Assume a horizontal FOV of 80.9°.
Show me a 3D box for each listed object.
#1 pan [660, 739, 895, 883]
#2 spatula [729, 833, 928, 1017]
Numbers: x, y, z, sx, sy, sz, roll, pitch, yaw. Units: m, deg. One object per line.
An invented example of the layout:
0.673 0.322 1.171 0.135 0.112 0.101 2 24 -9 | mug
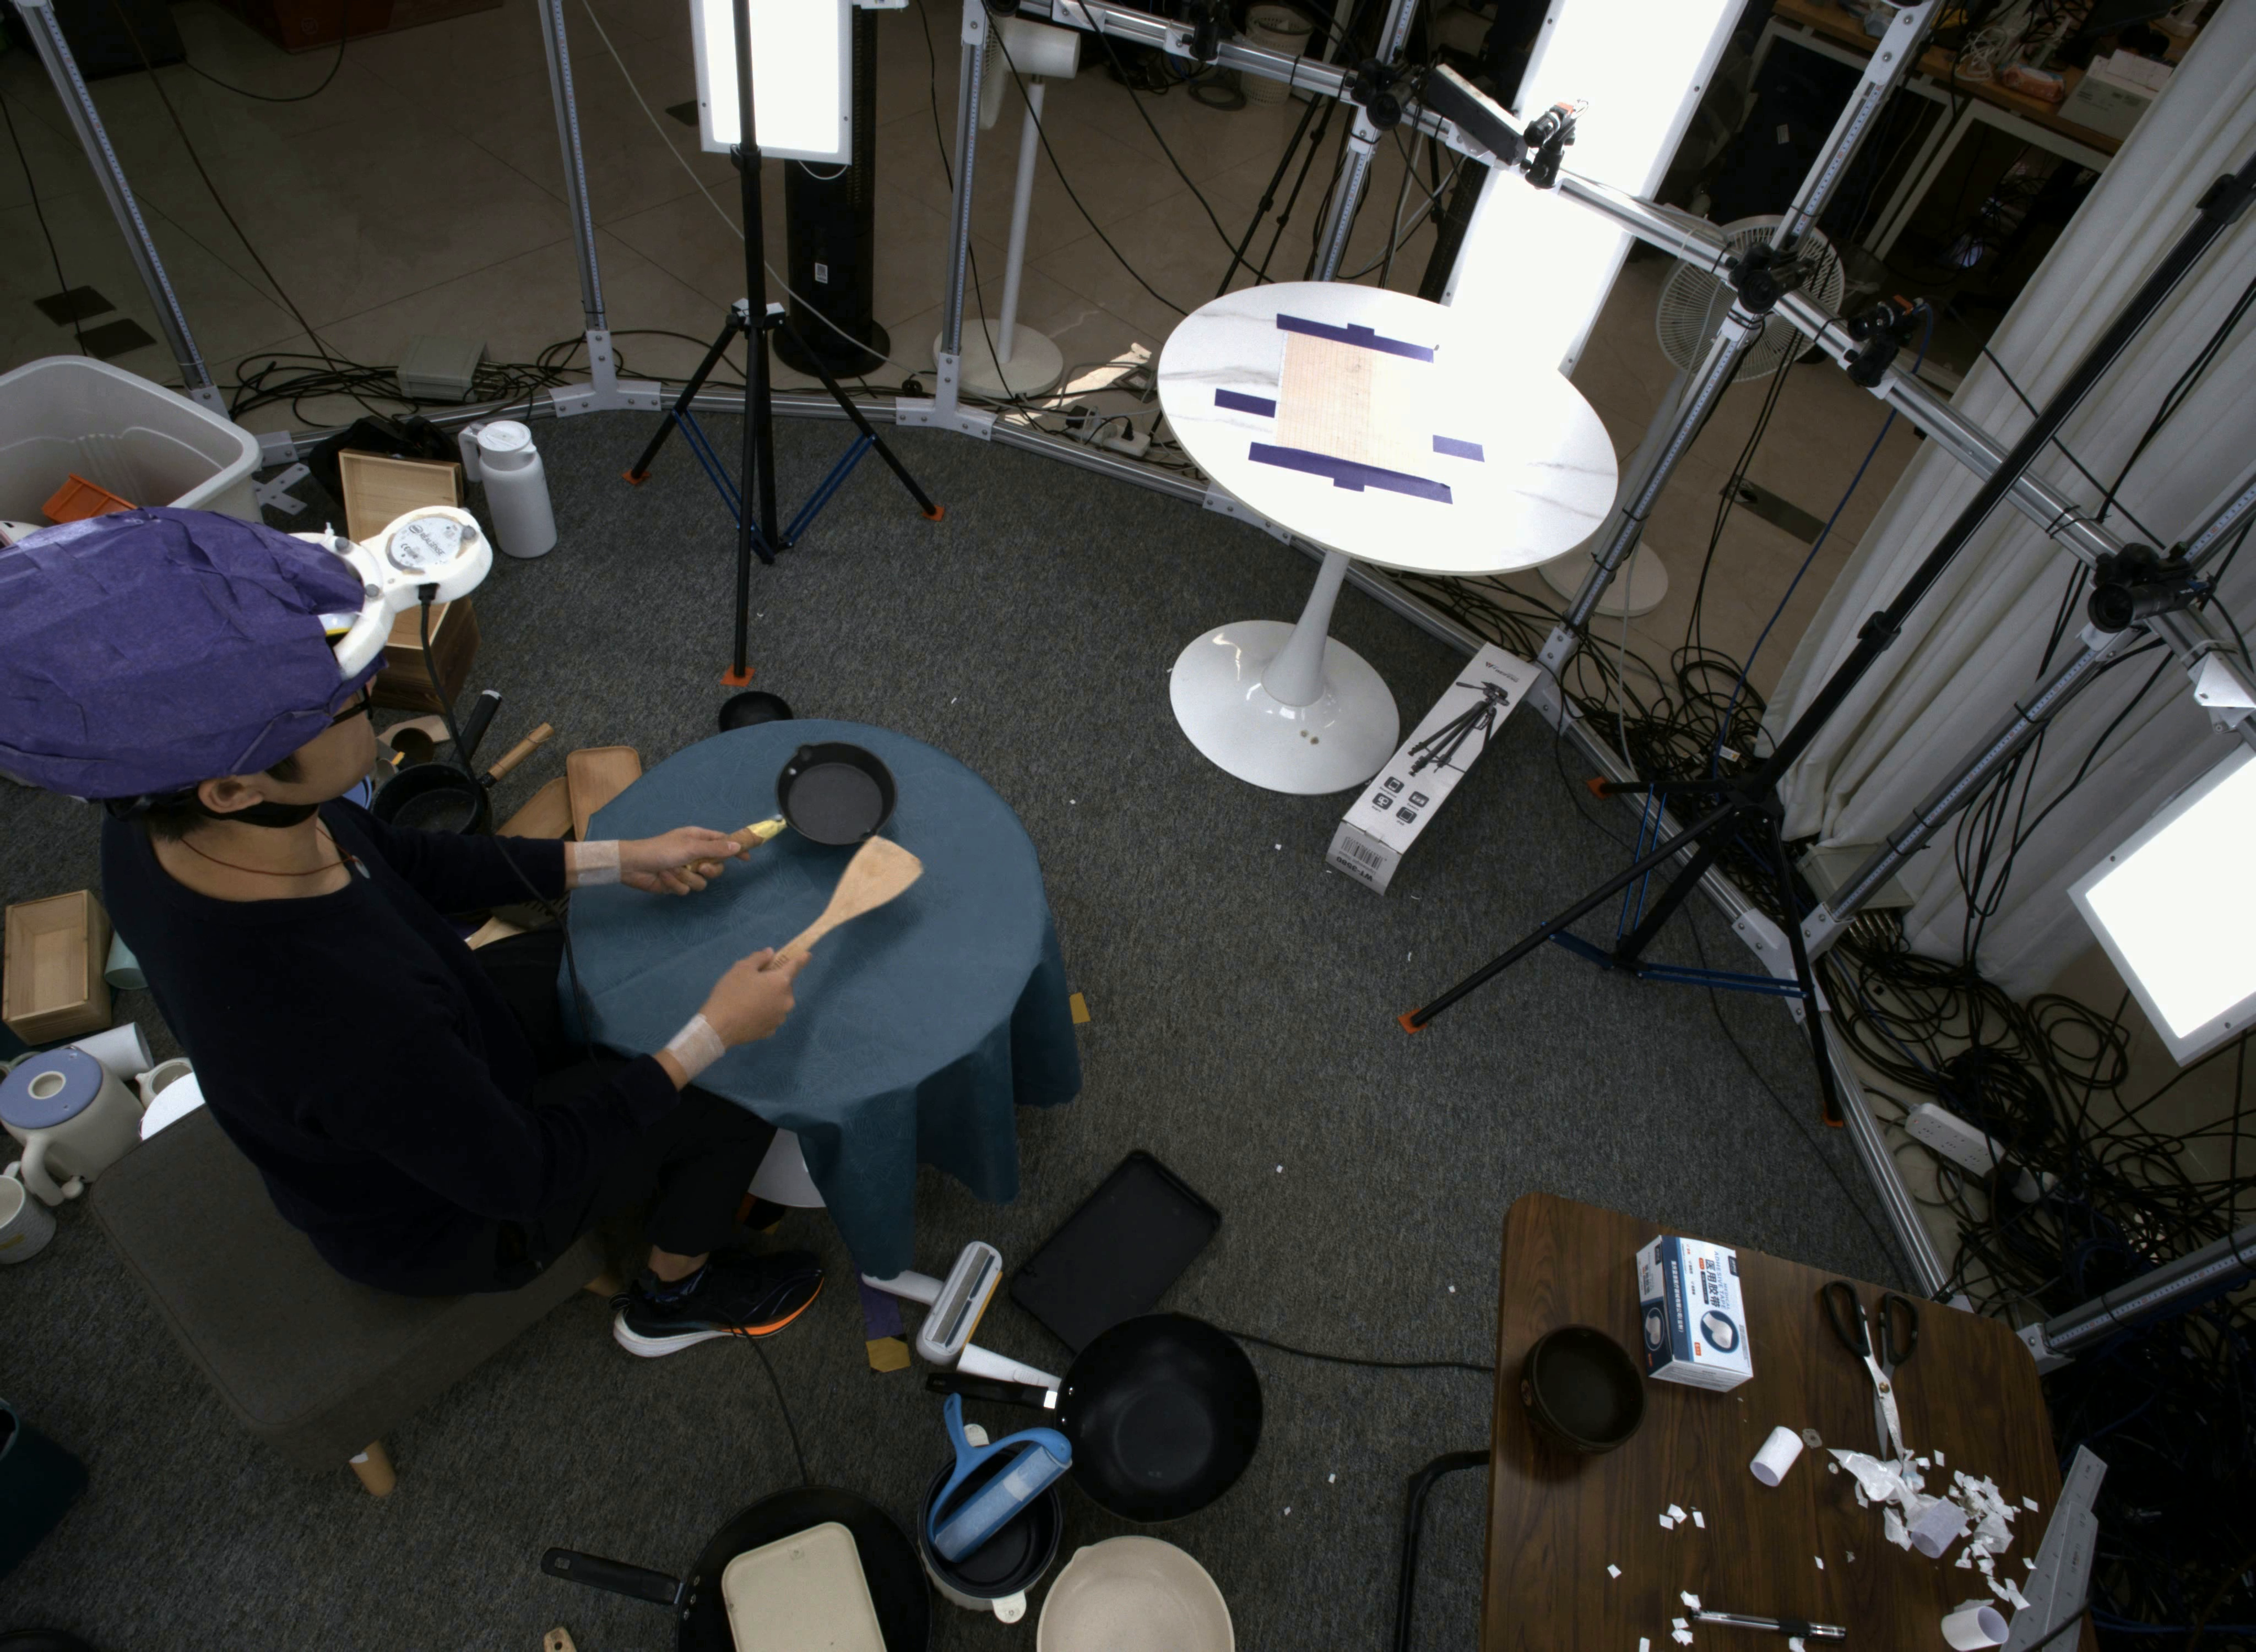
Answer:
-0.446 -0.006 1.643 0.325 0.050 0.166 -29 74 -31 | pan
-0.357 0.114 1.534 0.080 0.016 0.326 45 45 -4 | spatula
